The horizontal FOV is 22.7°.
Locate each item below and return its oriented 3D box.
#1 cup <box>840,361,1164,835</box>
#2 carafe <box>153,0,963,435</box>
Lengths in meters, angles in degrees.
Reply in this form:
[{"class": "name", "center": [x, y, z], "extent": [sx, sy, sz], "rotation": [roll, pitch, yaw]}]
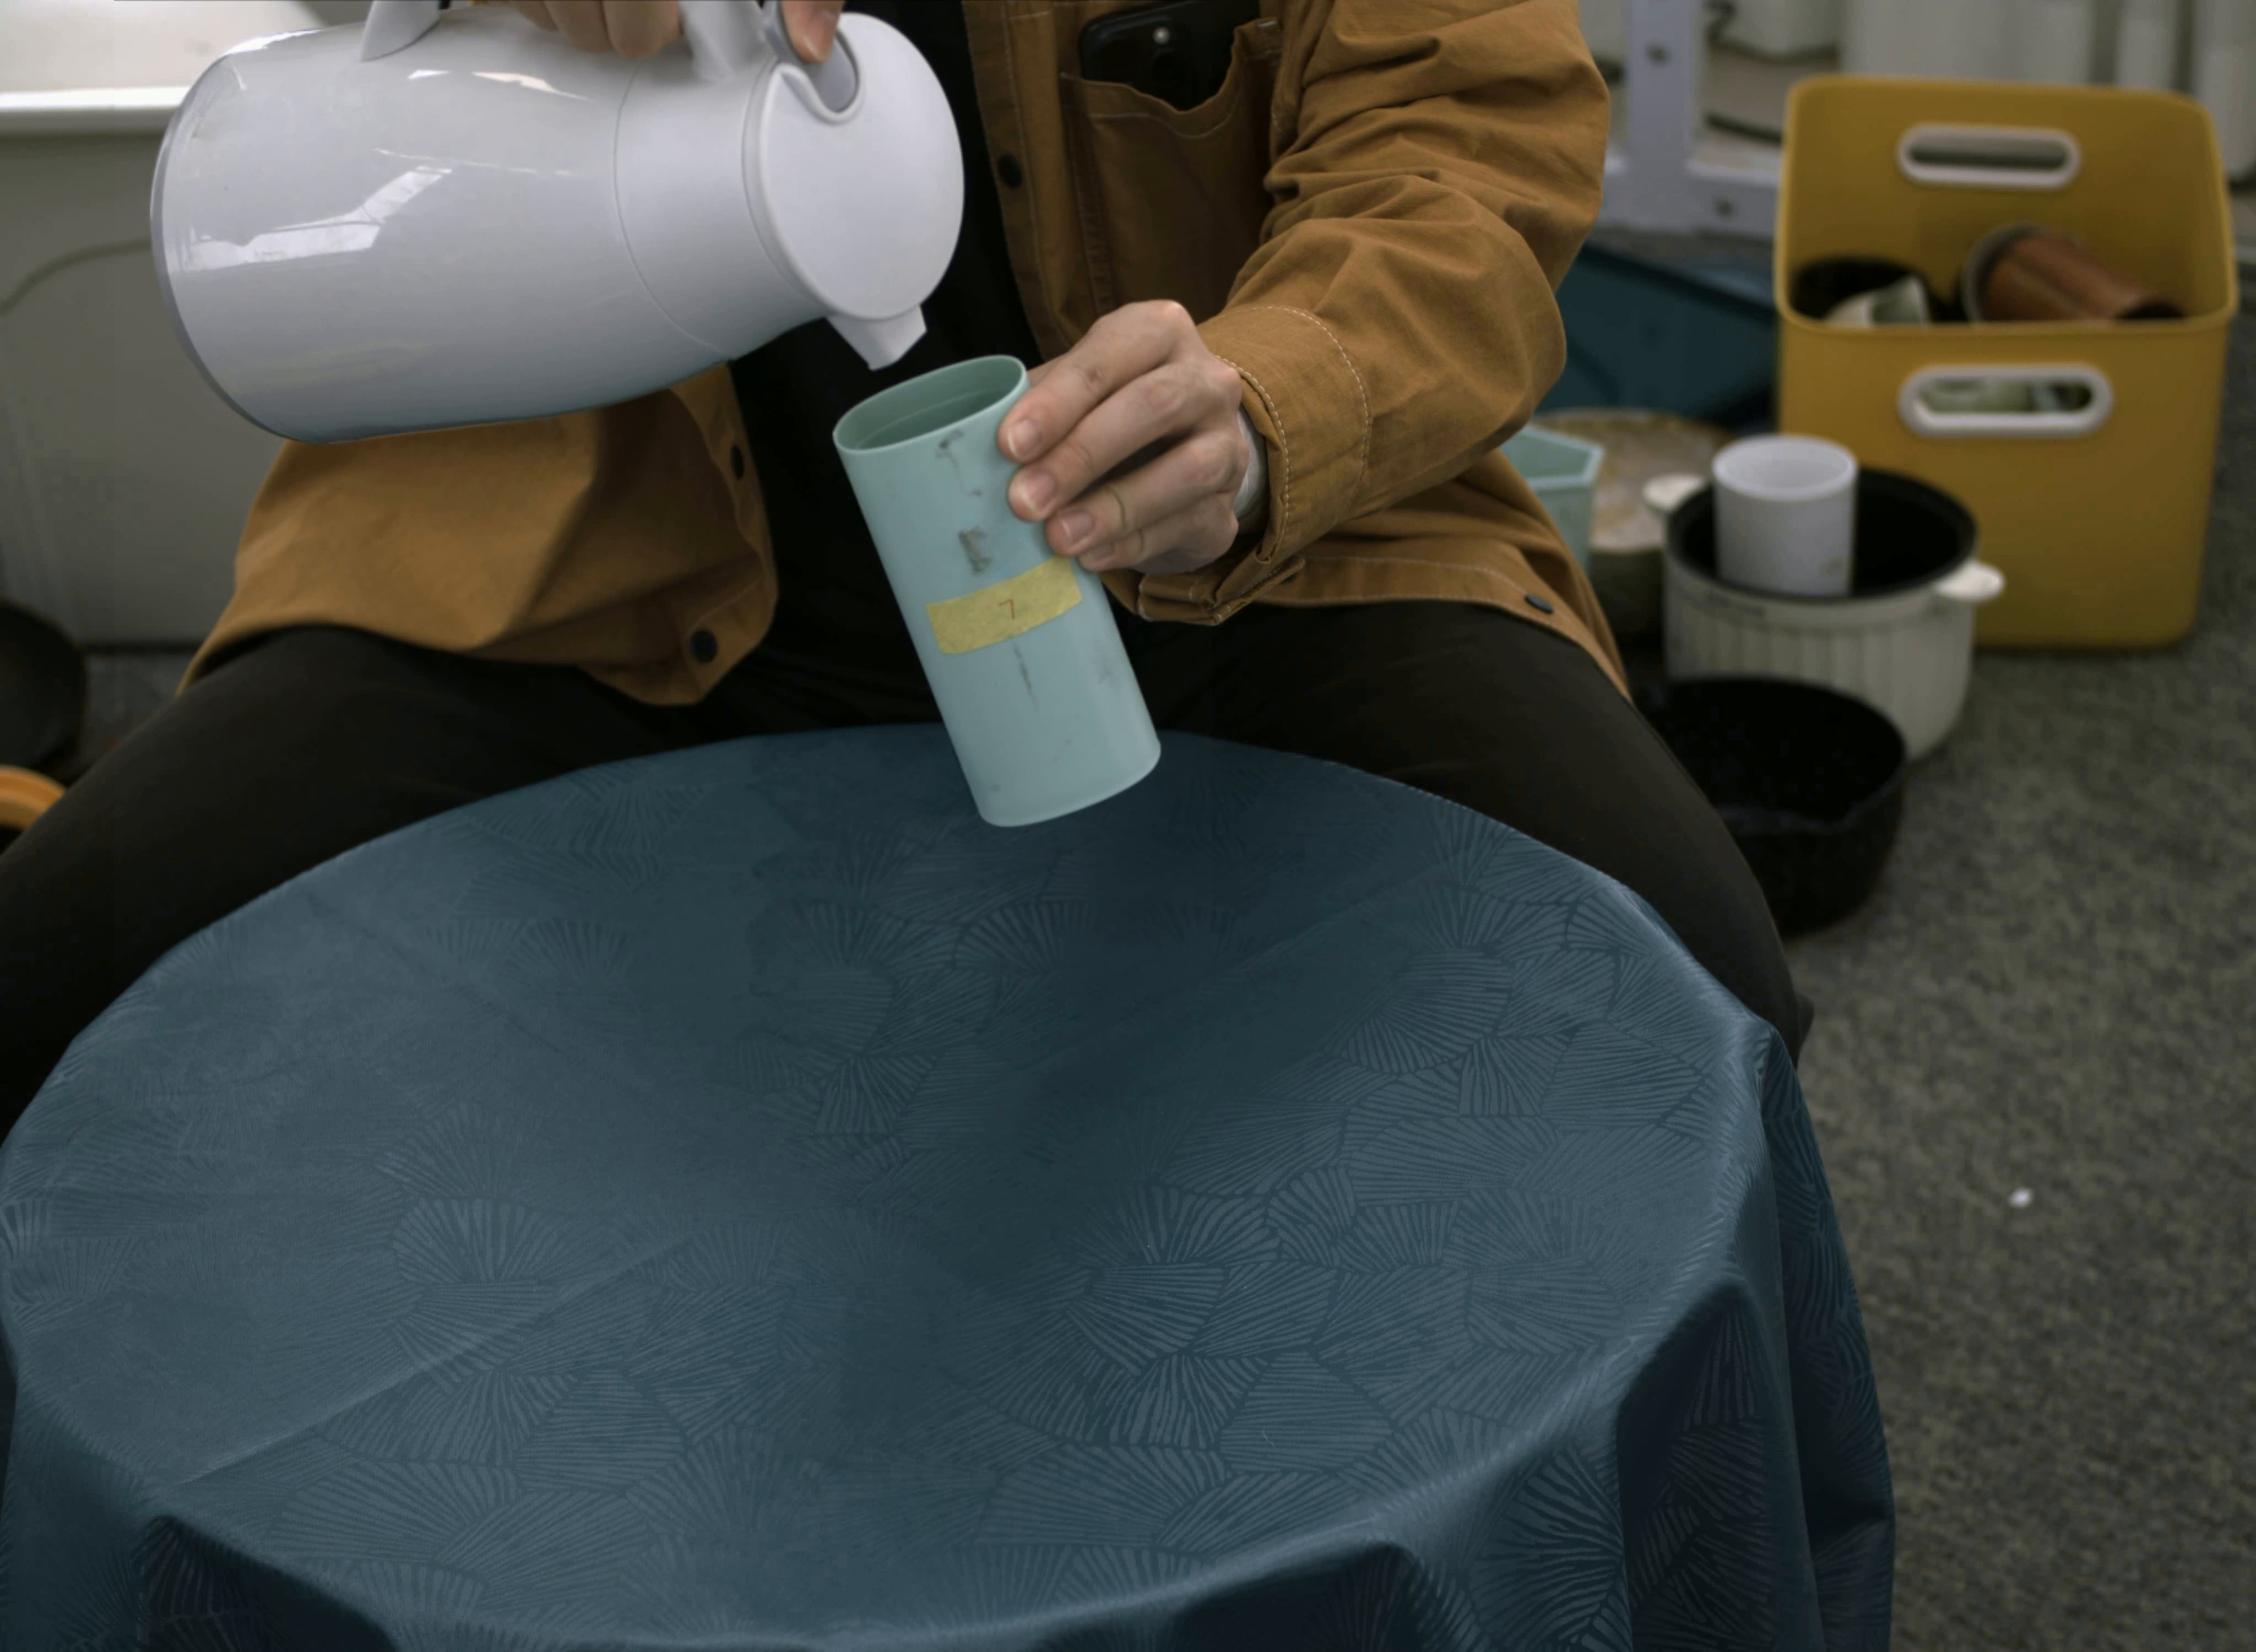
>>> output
[{"class": "cup", "center": [-0.038, -0.071, 1.736], "extent": [0.066, 0.131, 0.067], "rotation": [-17, 20, 7]}, {"class": "carafe", "center": [-0.177, -0.209, 1.733], "extent": [0.246, 0.166, 0.135], "rotation": [-2, 34, 38]}]
